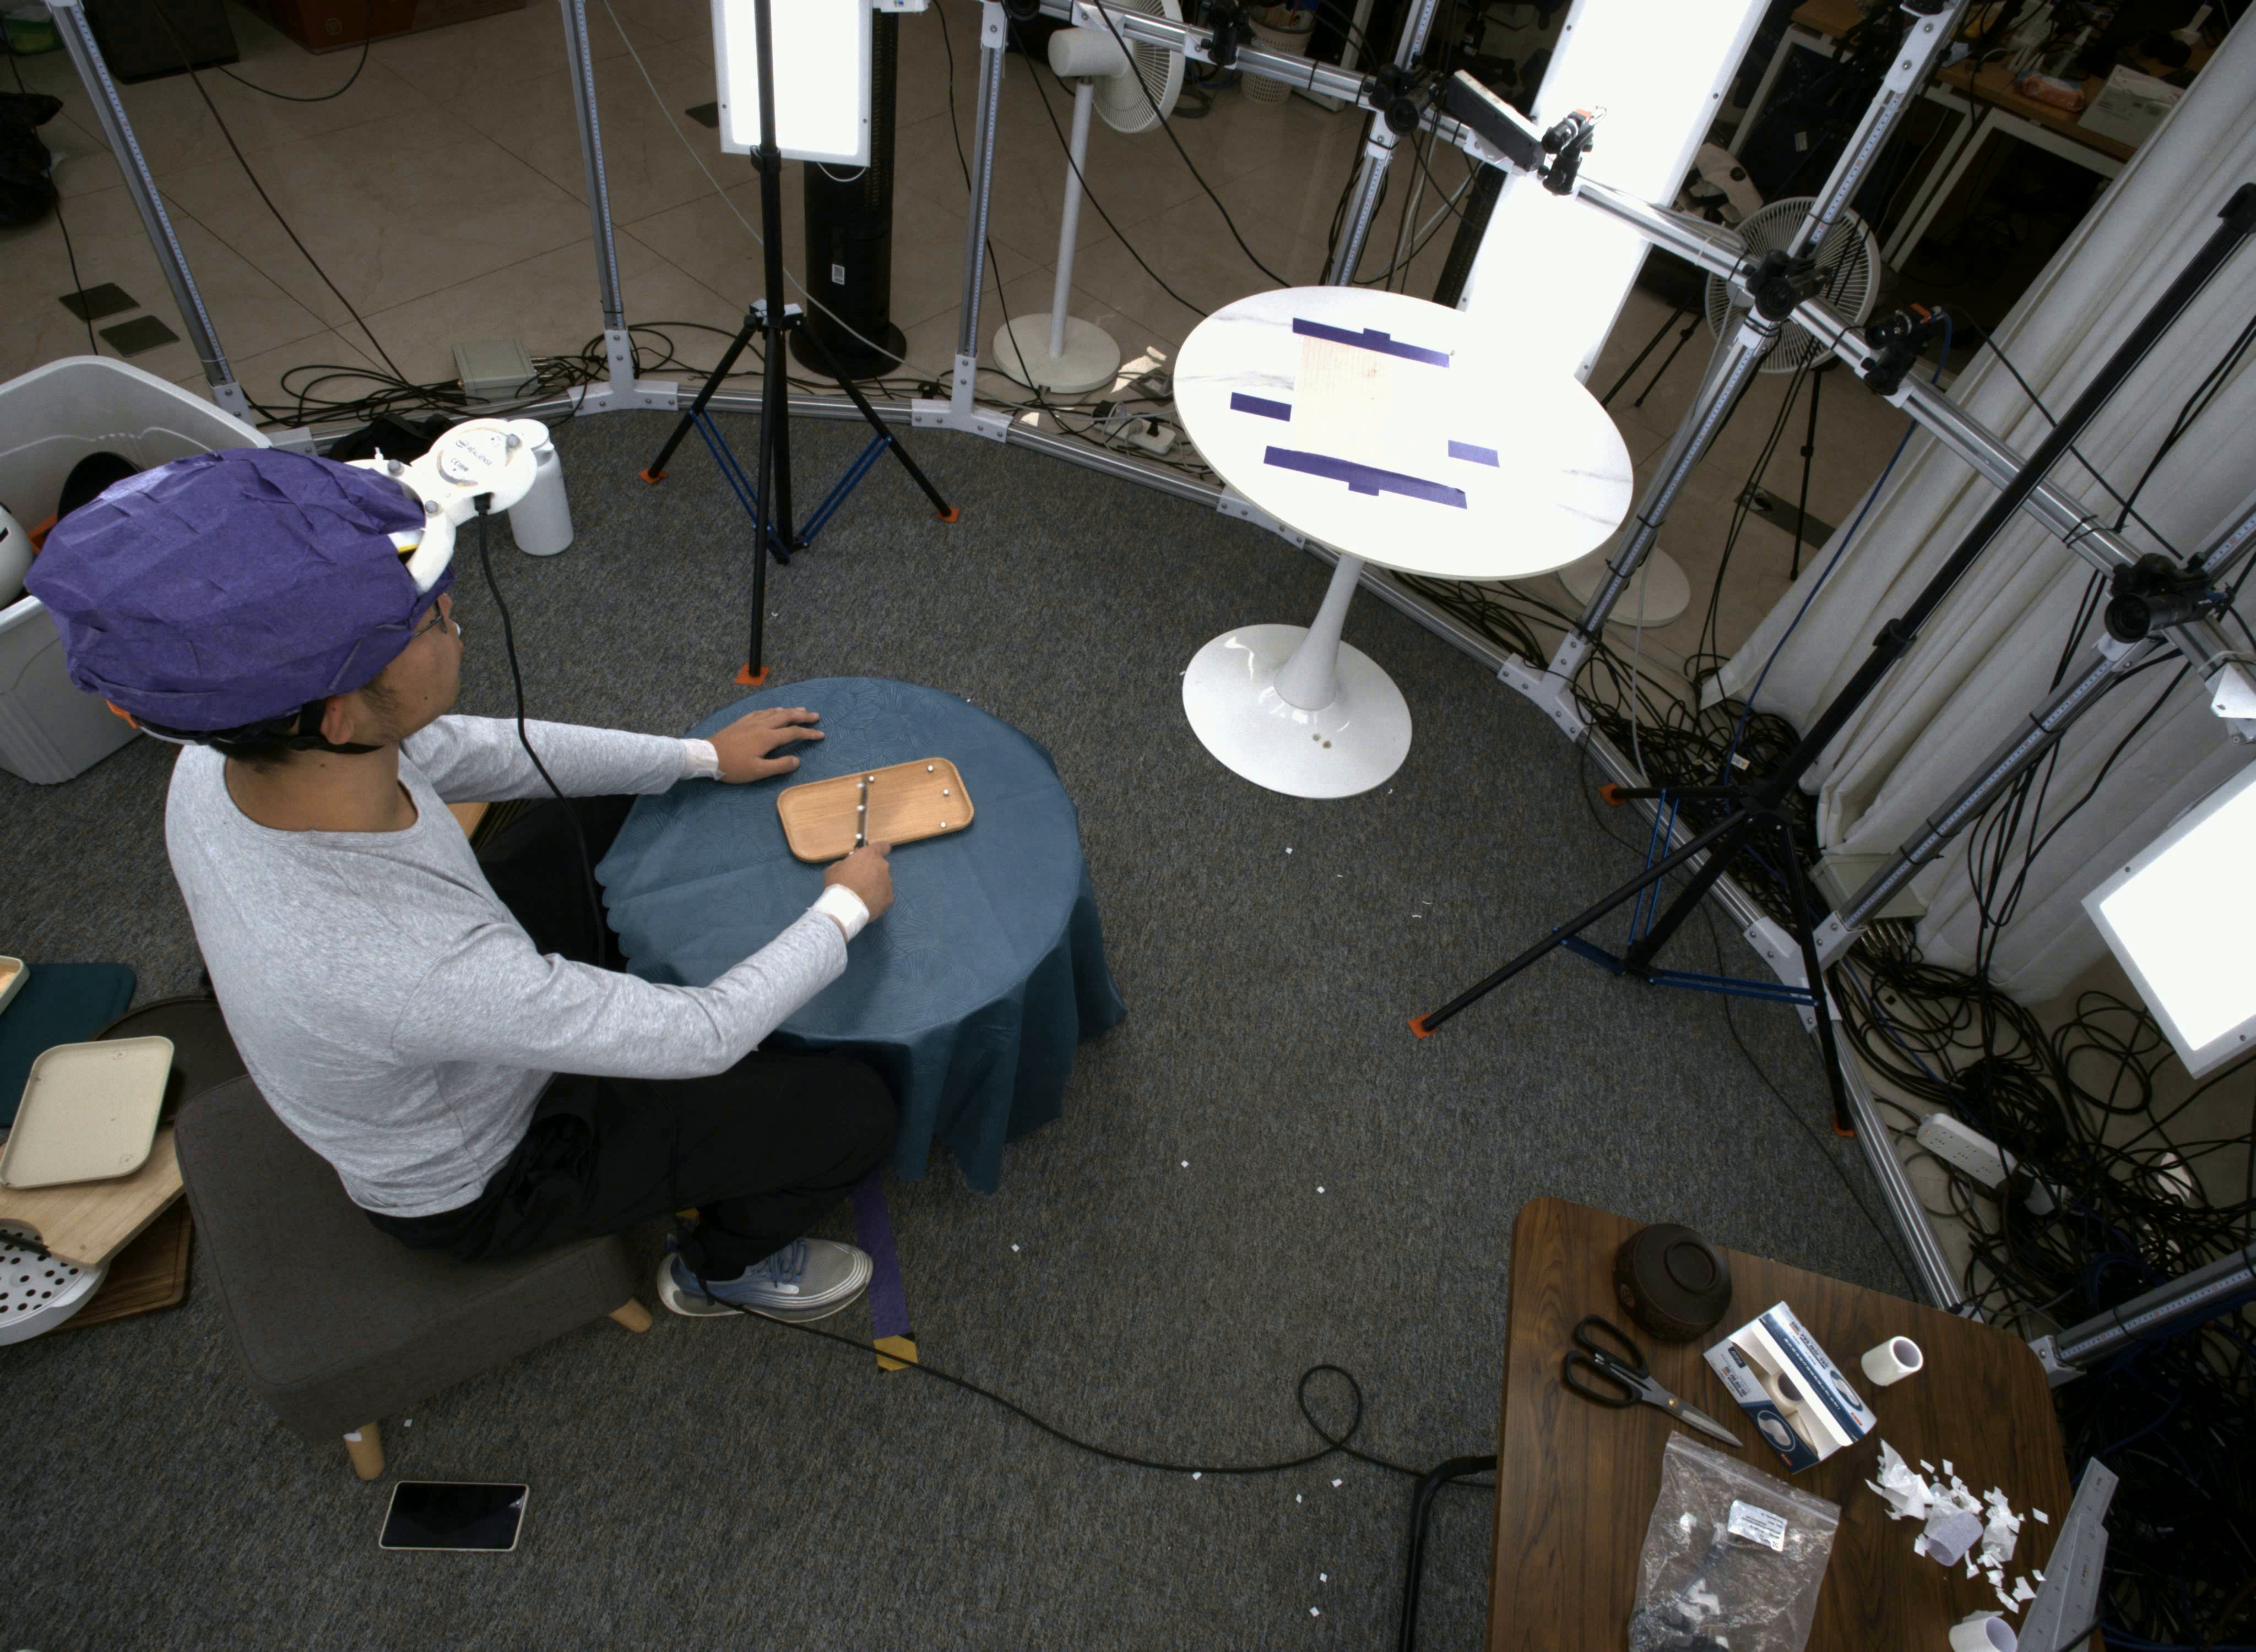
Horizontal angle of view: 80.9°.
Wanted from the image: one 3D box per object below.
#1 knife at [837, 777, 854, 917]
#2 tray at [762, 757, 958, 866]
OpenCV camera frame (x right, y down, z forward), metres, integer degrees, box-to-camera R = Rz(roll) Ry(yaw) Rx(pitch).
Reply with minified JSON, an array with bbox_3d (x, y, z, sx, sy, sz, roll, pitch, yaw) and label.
[{"bbox_3d":[-0.364,0.018,1.668,0.017,0.024,0.232,24,38,-34],"label":"knife"},{"bbox_3d":[-0.361,-0.021,1.756,0.252,0.023,0.127,-14,56,-22],"label":"tray"}]
